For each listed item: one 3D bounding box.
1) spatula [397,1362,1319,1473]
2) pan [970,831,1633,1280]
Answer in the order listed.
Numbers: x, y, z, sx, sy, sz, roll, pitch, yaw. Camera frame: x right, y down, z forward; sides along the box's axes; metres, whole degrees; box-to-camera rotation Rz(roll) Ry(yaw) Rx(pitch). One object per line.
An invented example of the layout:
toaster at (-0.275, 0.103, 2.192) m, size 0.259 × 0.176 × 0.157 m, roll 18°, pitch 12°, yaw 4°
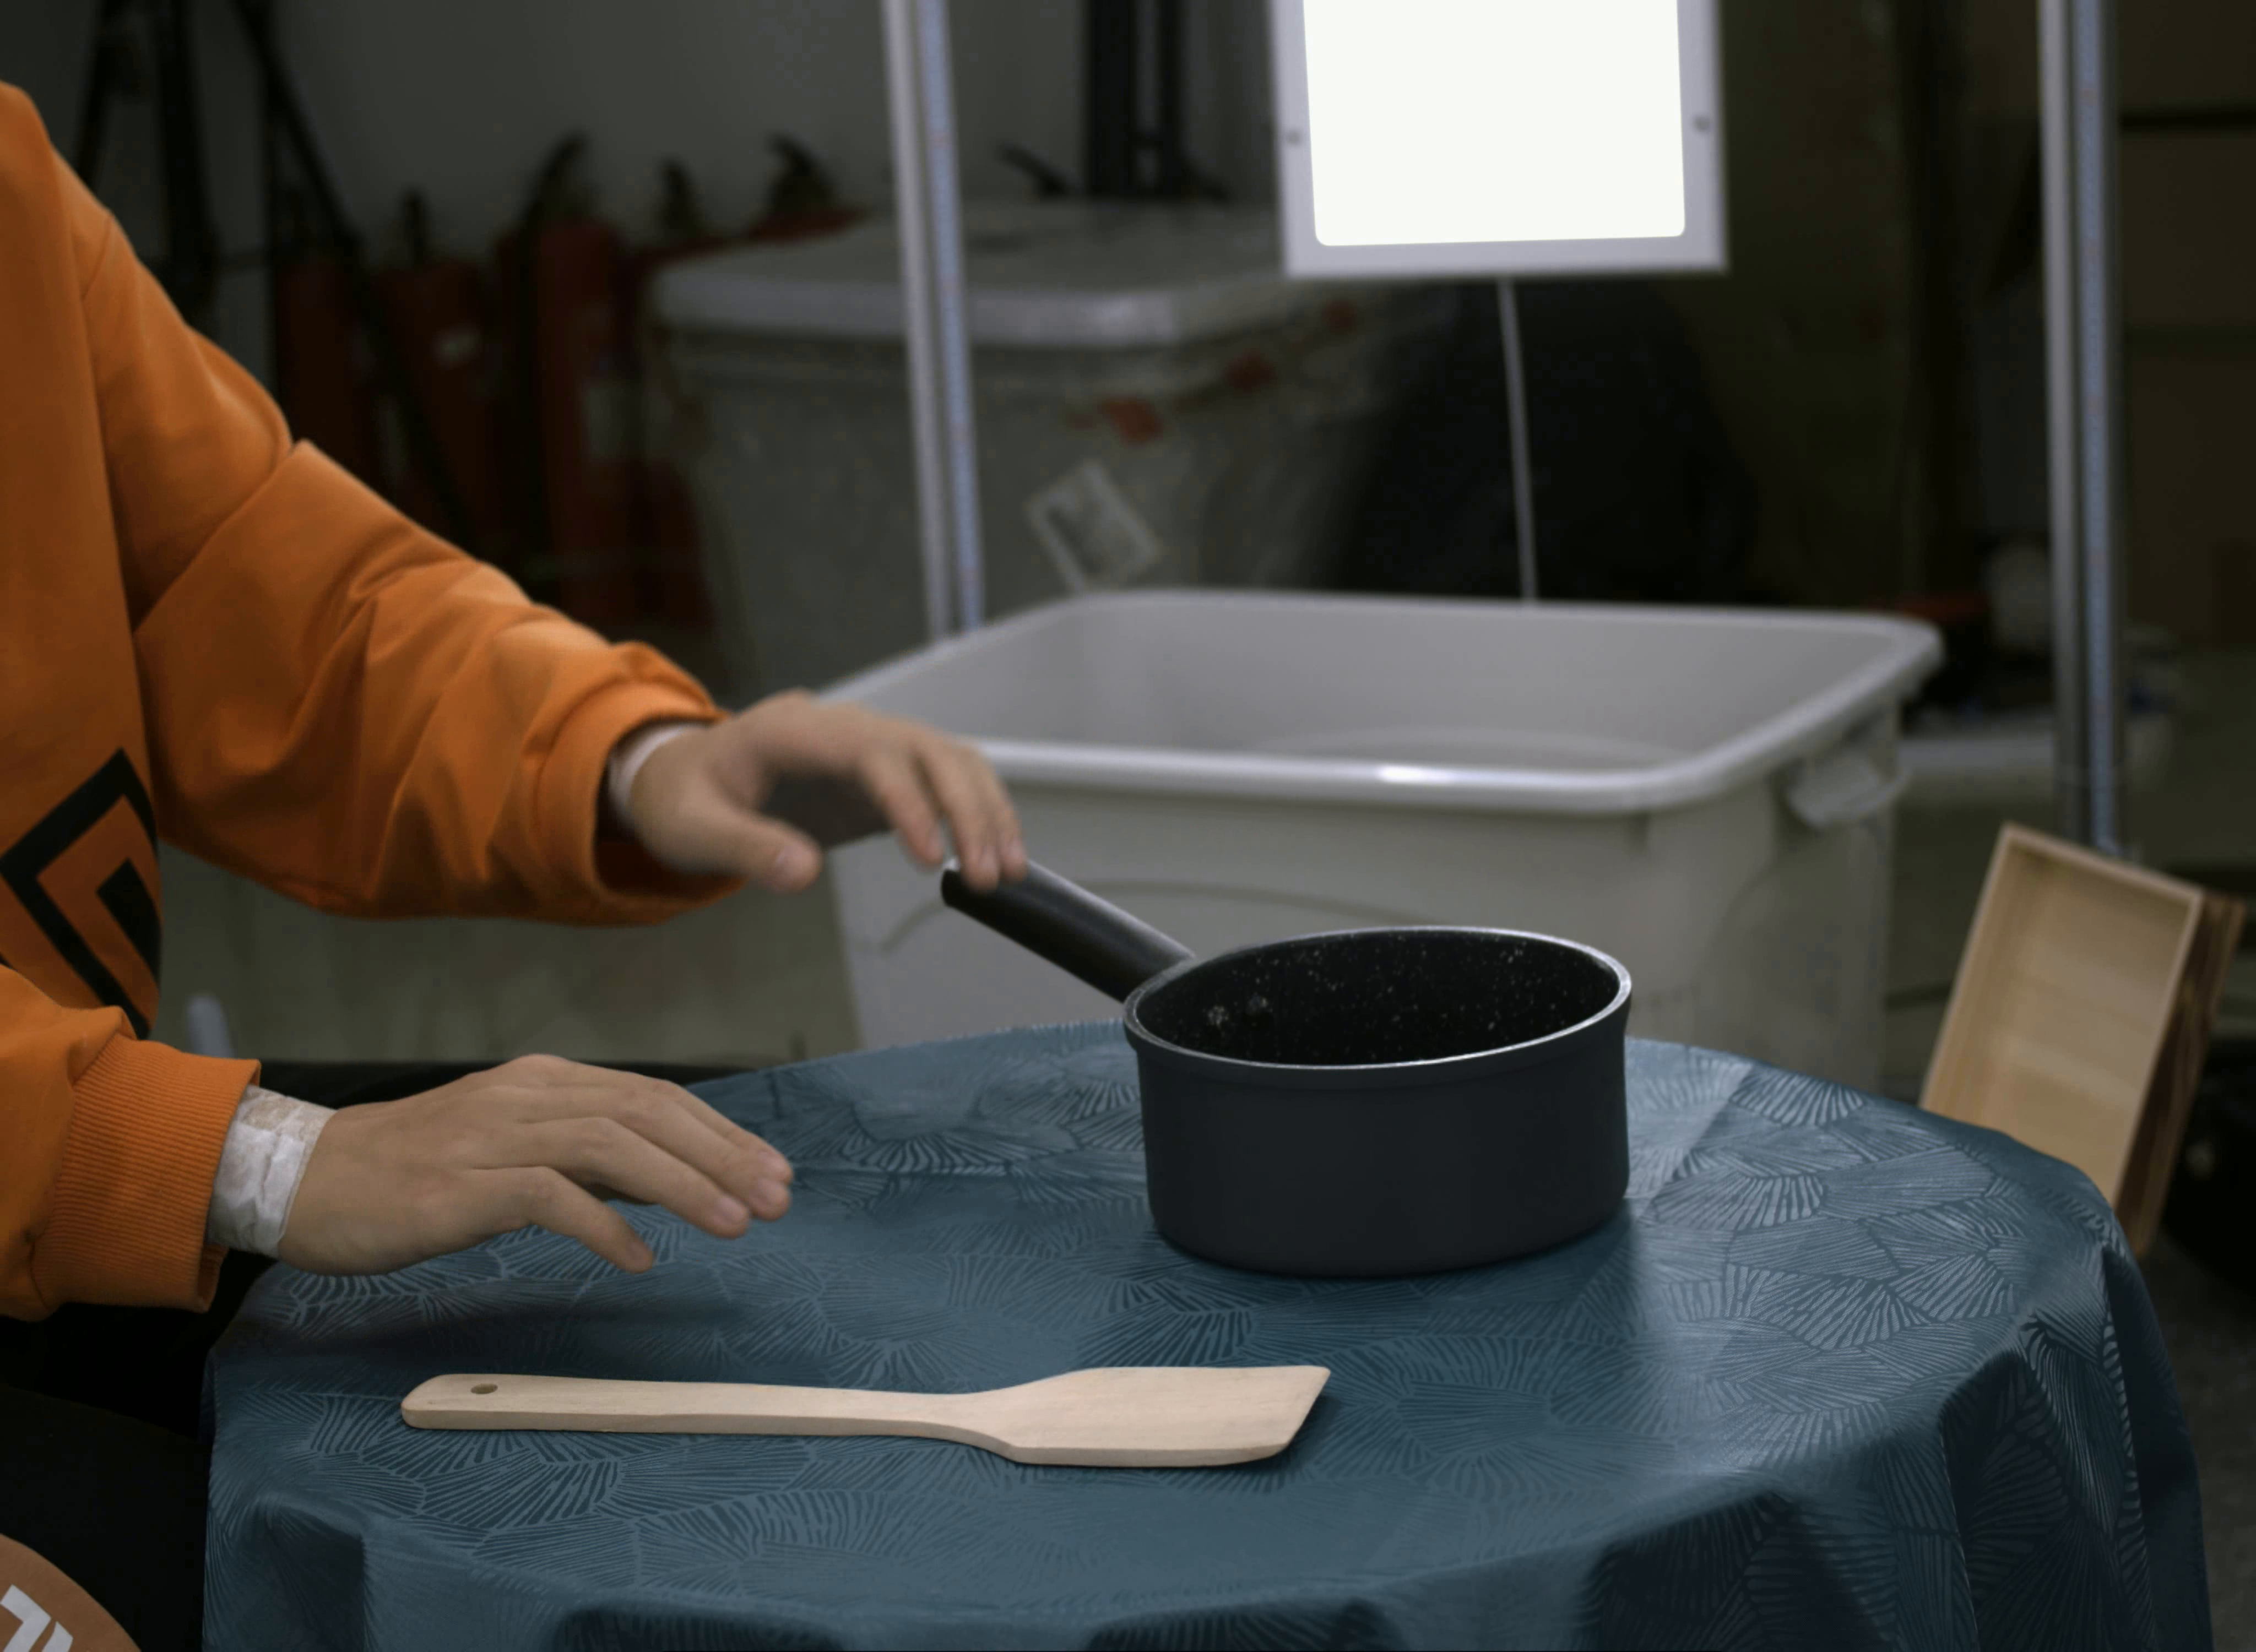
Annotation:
spatula at (-0.088, 0.179, 1.695) m, size 0.296 × 0.011 × 0.071 m, roll -1°, pitch 18°, yaw 18°
pan at (0.042, 0.075, 1.913) m, size 0.168 × 0.087 × 0.335 m, roll -12°, pitch 17°, yaw -30°
